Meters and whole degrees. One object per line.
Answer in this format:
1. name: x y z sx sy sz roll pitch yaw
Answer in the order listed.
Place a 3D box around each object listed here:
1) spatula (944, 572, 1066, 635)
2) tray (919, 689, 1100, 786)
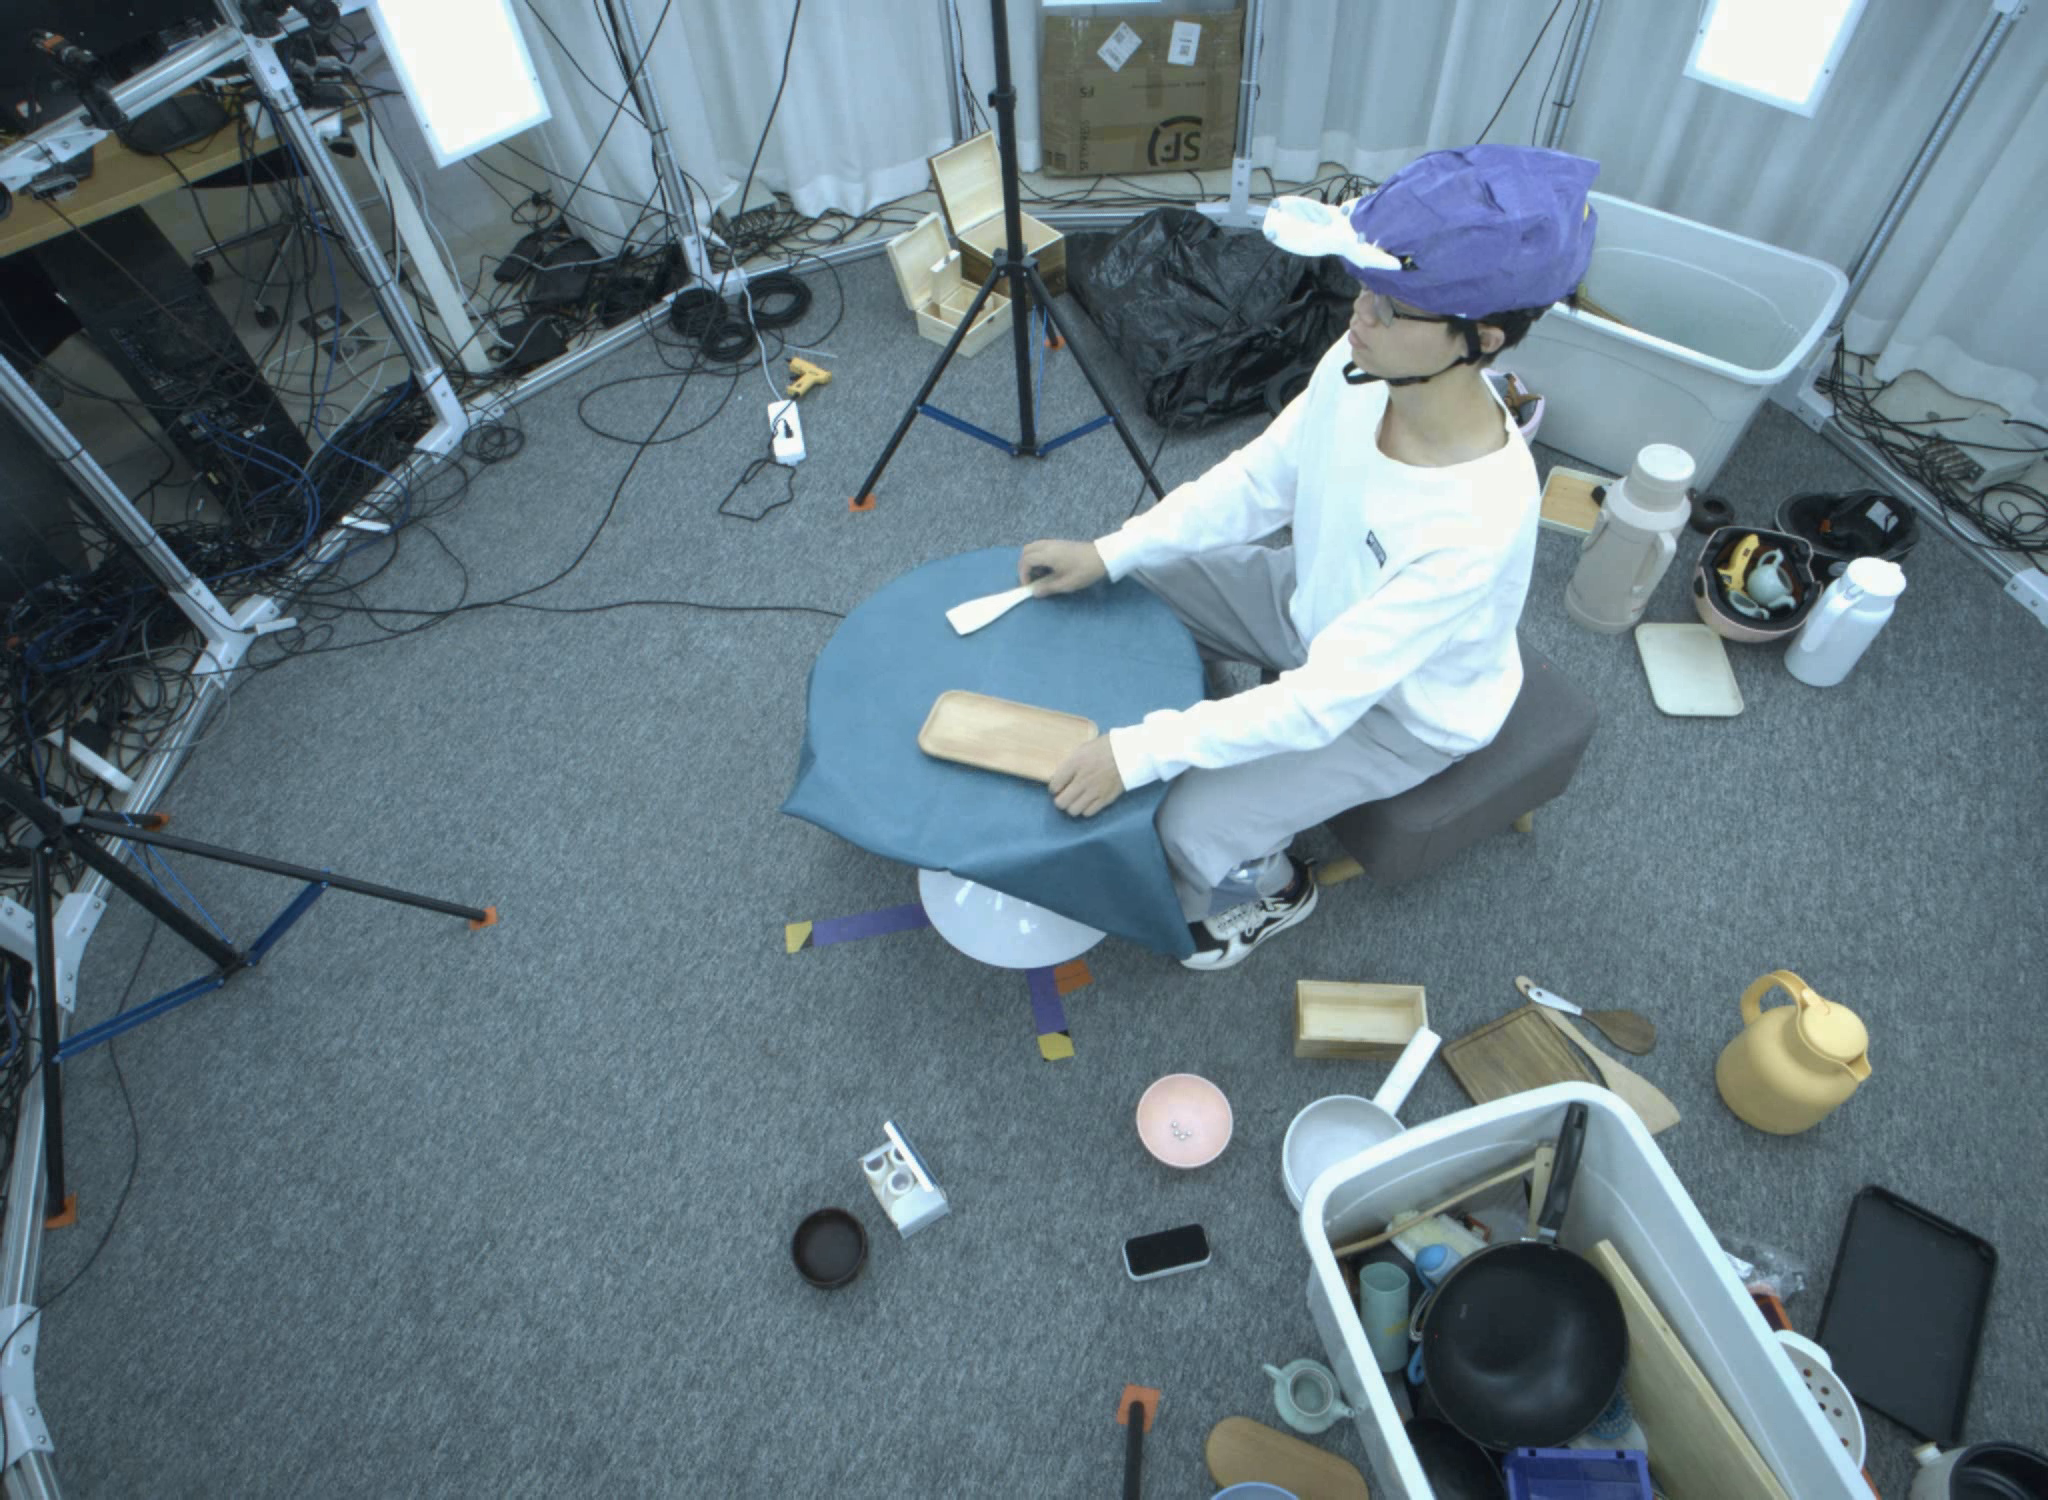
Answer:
1. spatula: -0.026 -0.238 1.947 0.209 0.005 0.050 -25 68 -16
2. tray: -0.021 -0.019 1.783 0.248 0.023 0.130 14 55 11
